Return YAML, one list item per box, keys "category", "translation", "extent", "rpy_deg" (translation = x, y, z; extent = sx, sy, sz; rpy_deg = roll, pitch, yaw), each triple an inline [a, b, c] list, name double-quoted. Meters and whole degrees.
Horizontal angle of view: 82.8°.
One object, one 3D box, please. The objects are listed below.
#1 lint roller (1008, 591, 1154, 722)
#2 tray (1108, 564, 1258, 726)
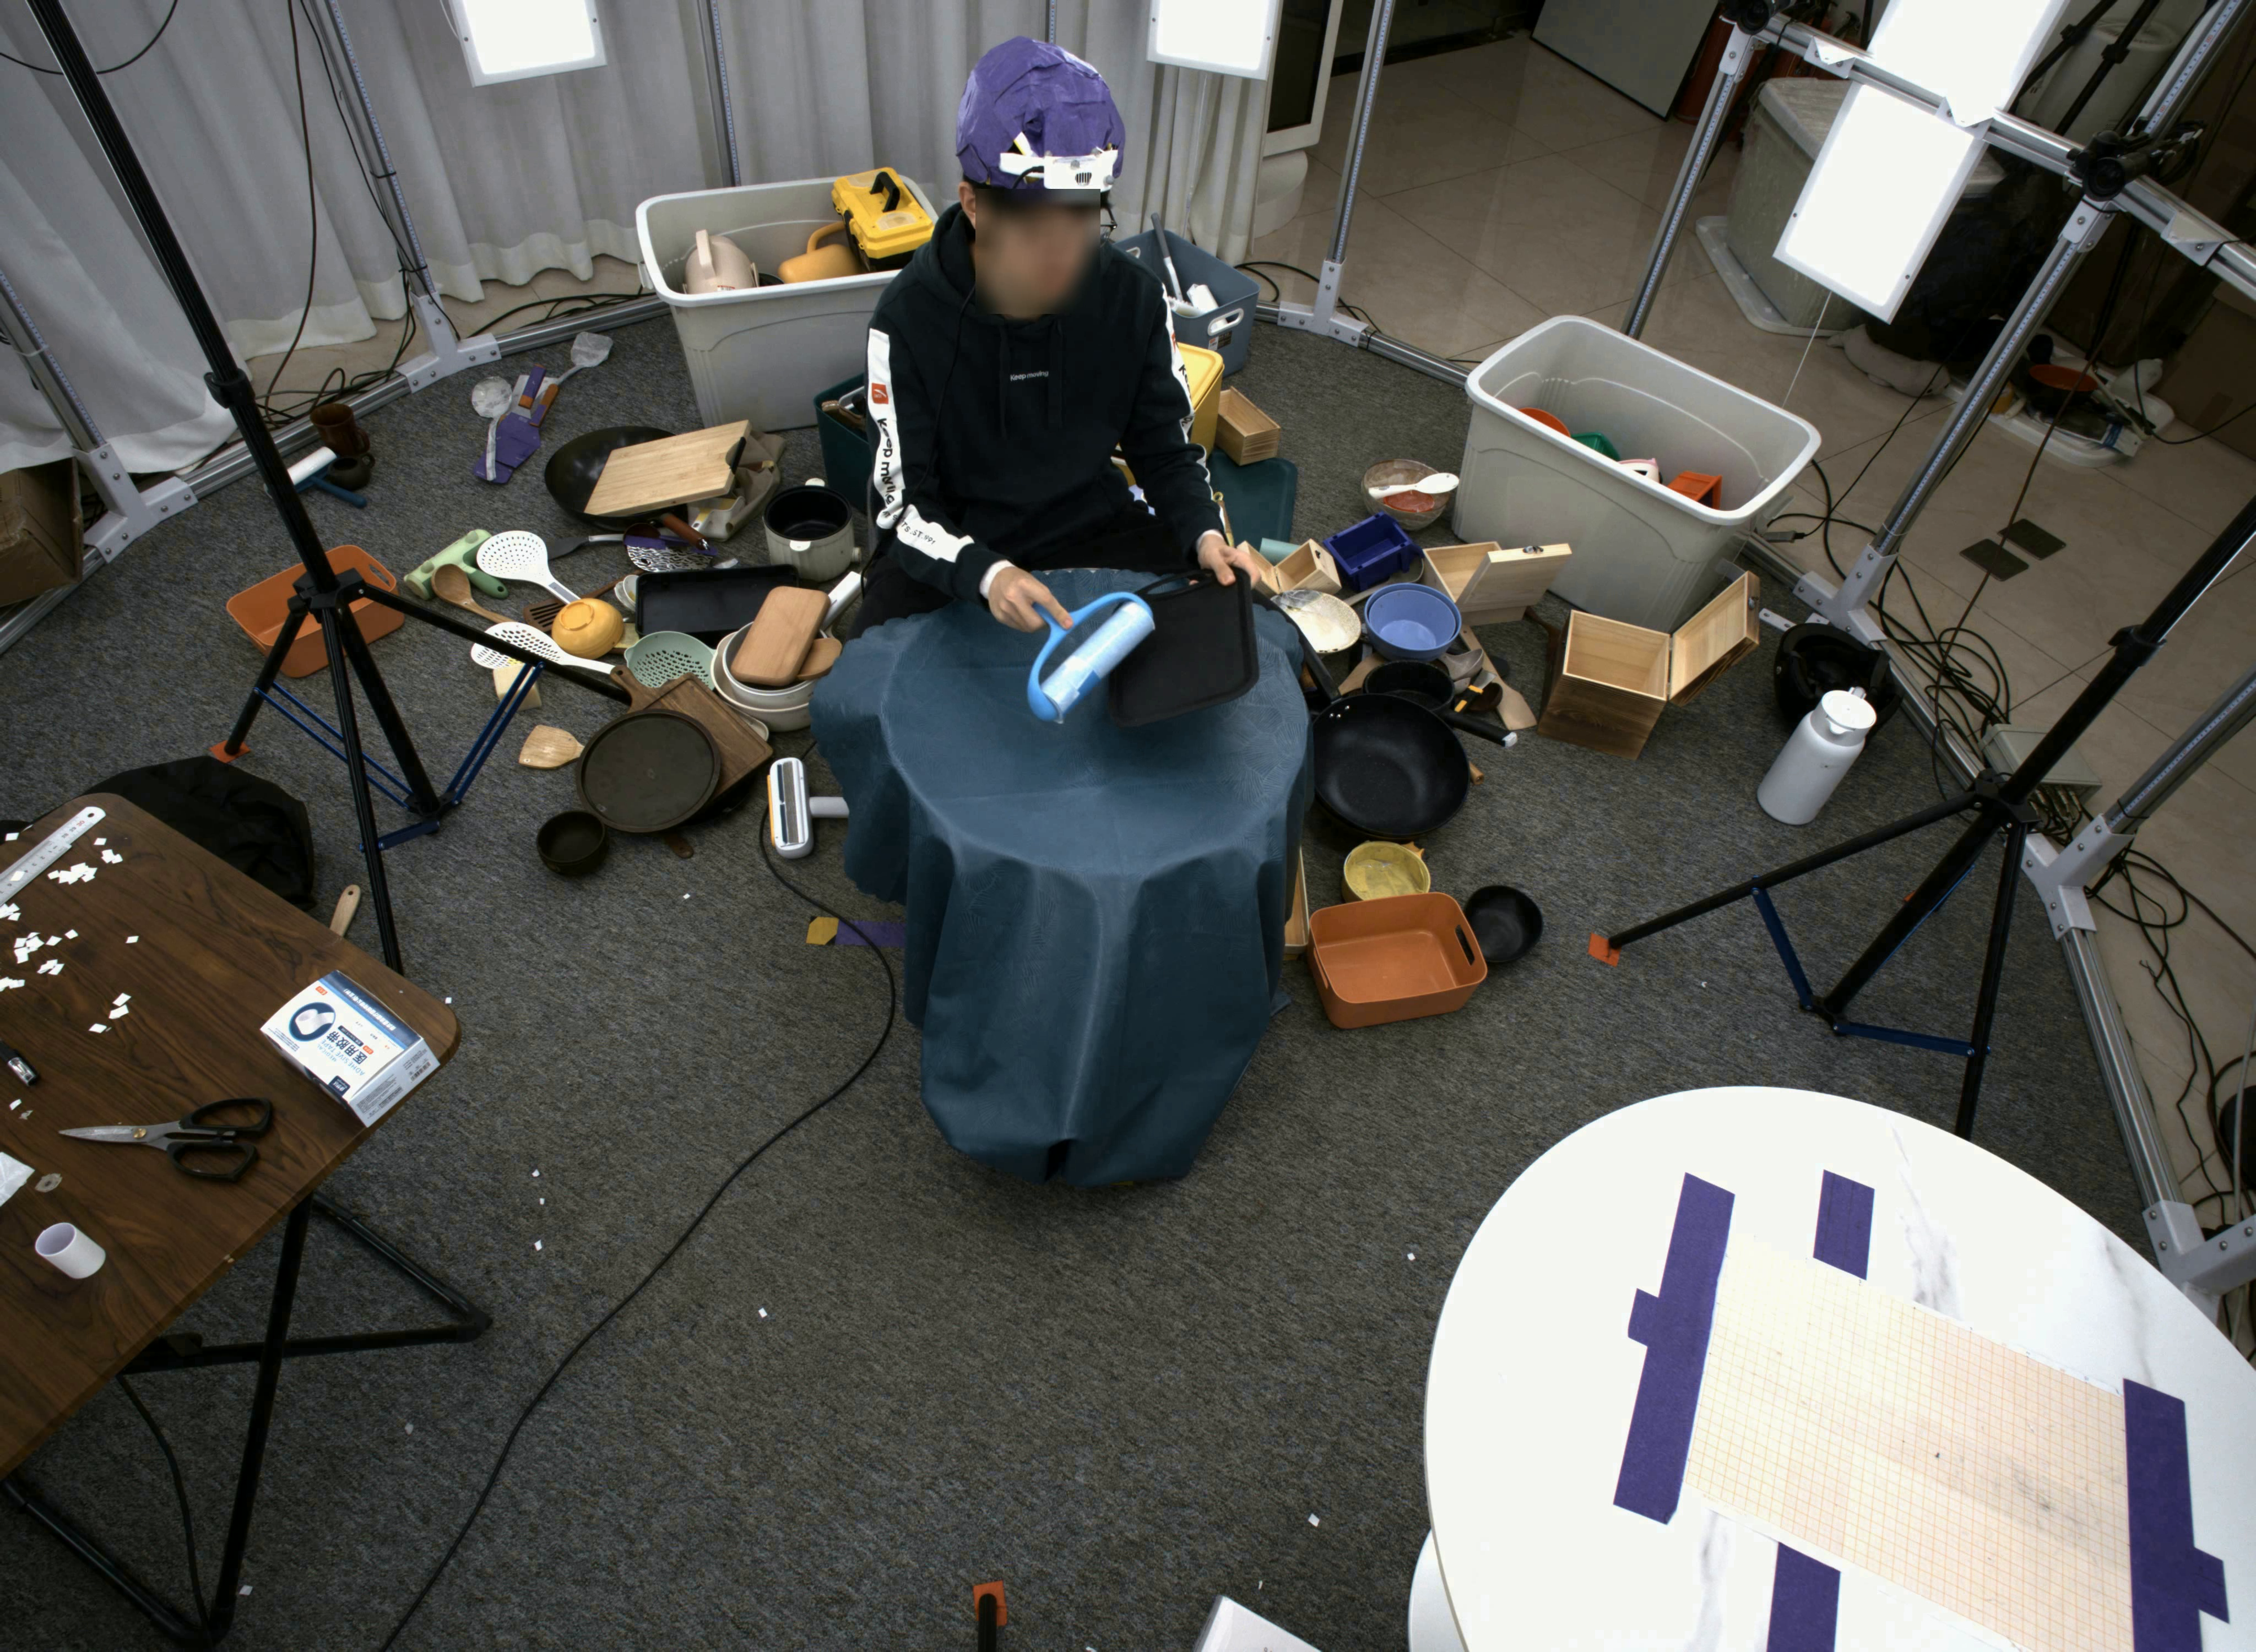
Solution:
- category: "lint roller"
  translation: [-0.092, -0.258, 1.739]
  extent: [0.181, 0.066, 0.231]
  rpy_deg: [35, 68, 12]
- category: "tray"
  translation: [0.073, -0.259, 1.771]
  extent: [0.211, 0.009, 0.333]
  rpy_deg: [-15, 41, 15]
